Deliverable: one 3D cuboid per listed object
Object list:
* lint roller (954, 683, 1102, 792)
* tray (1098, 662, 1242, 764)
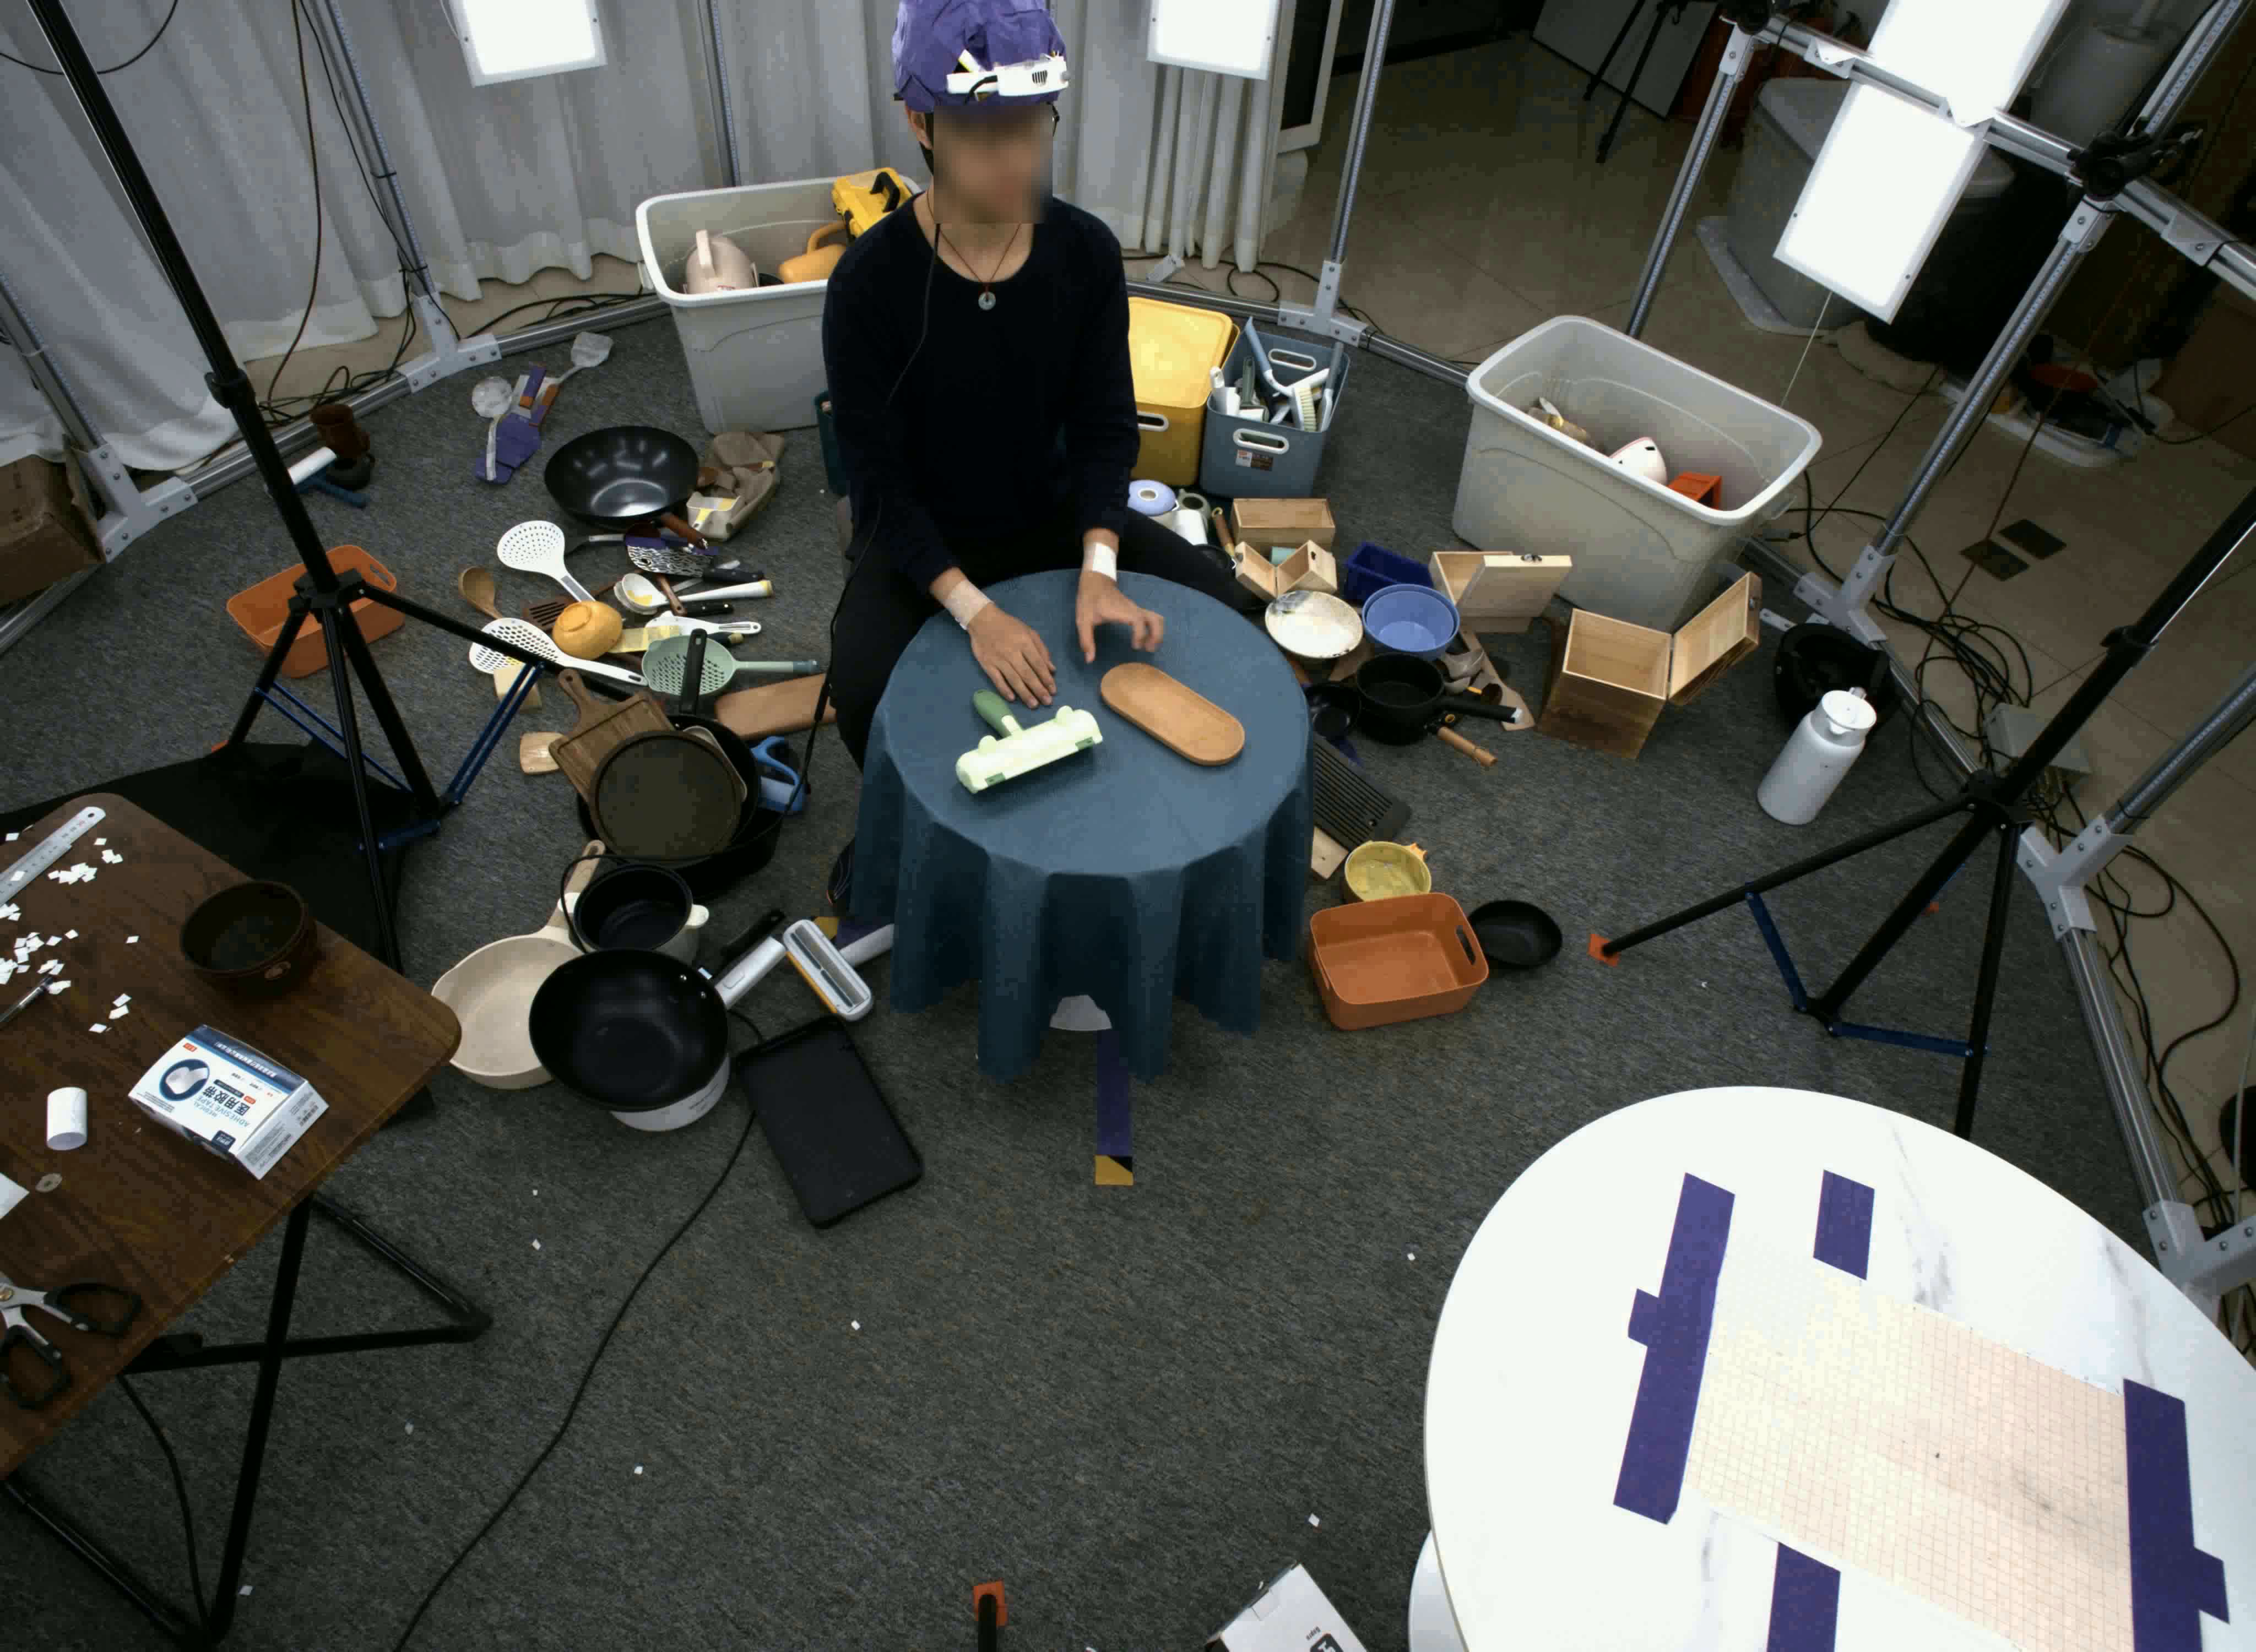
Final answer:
[{"bbox_3d":[-0.161,-0.146,1.729,0.199,0.080,0.187,-23,60,-23],"label":"lint roller"},{"bbox_3d":[0.058,-0.159,1.800,0.234,0.020,0.103,33,54,25],"label":"tray"}]
